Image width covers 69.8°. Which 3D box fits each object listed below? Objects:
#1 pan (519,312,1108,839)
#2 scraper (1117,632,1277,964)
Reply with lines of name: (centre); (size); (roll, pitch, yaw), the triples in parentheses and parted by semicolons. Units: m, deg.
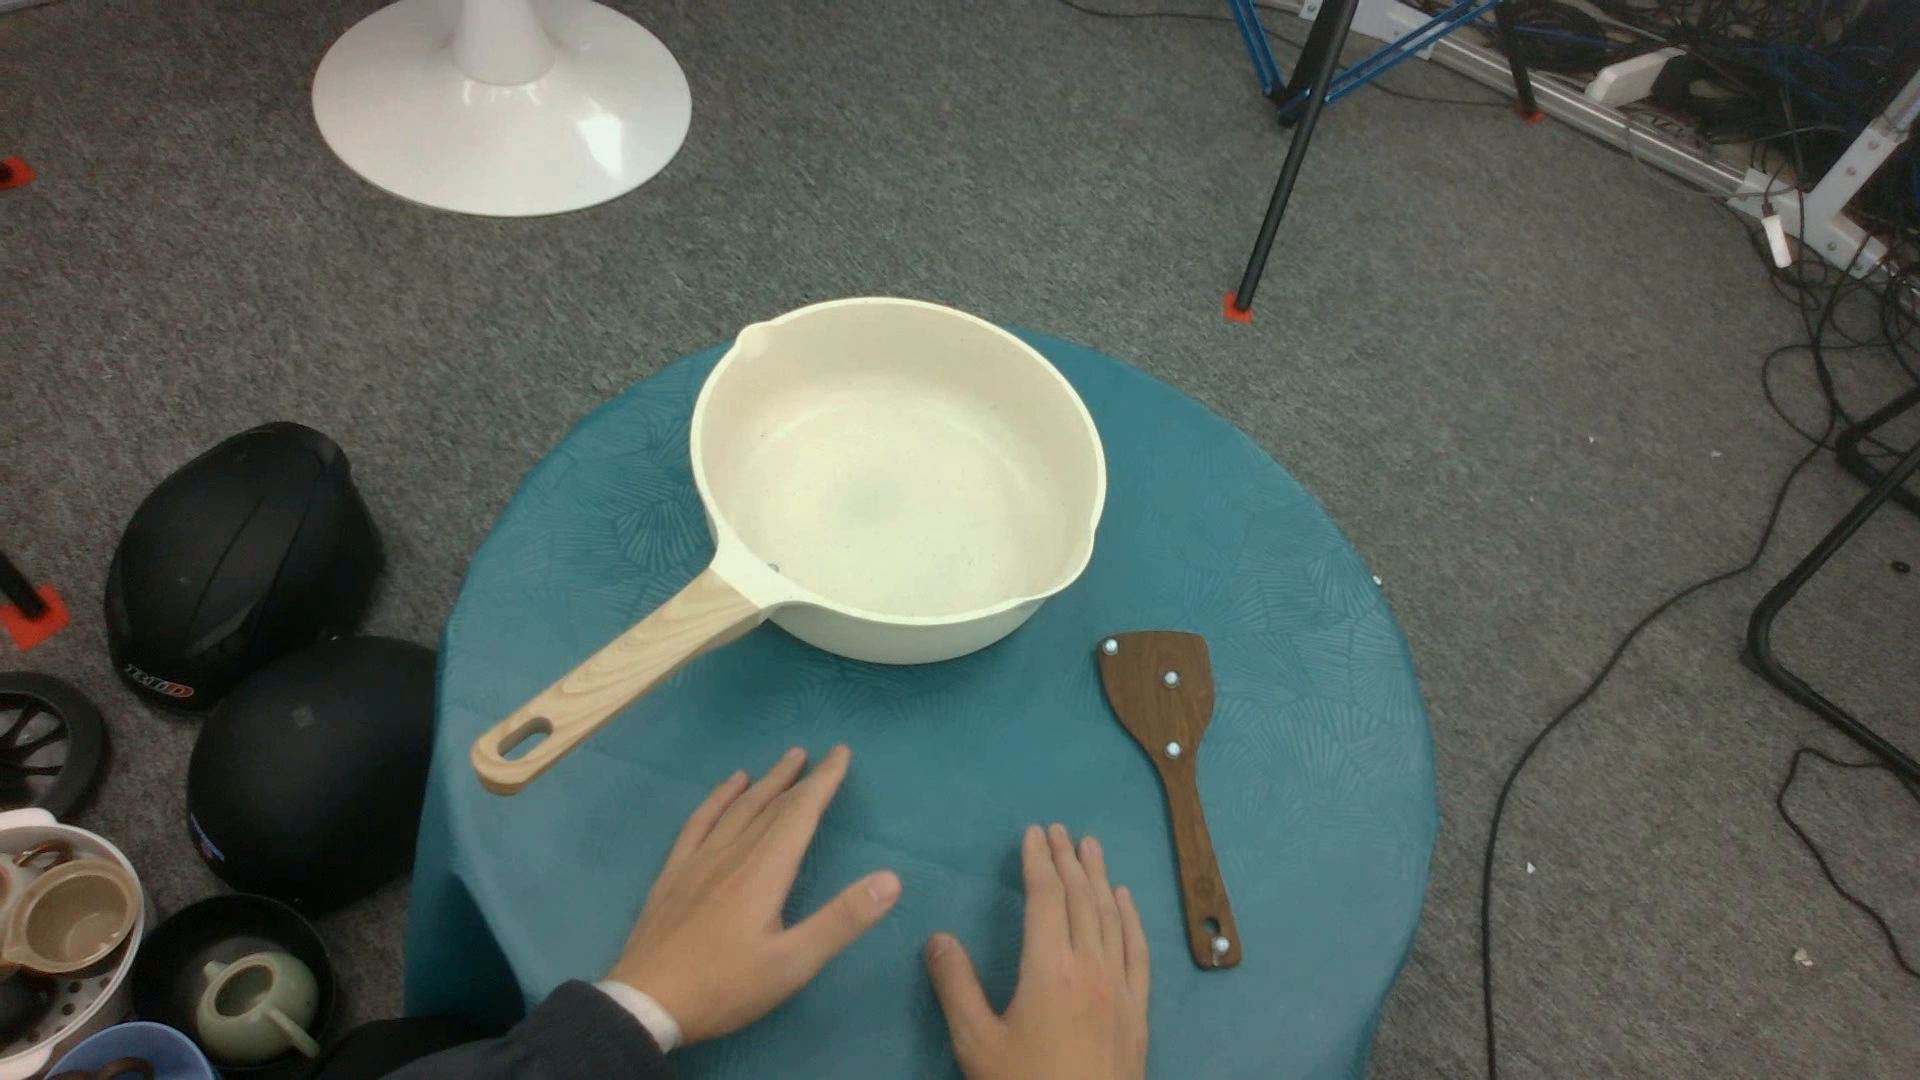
pan: (-0.090, 0.027, 0.817); (0.263, 0.101, 0.437); (34, 56, 14)
scraper: (0.148, 0.147, 0.819); (0.076, 0.011, 0.212); (-3, 55, -10)
